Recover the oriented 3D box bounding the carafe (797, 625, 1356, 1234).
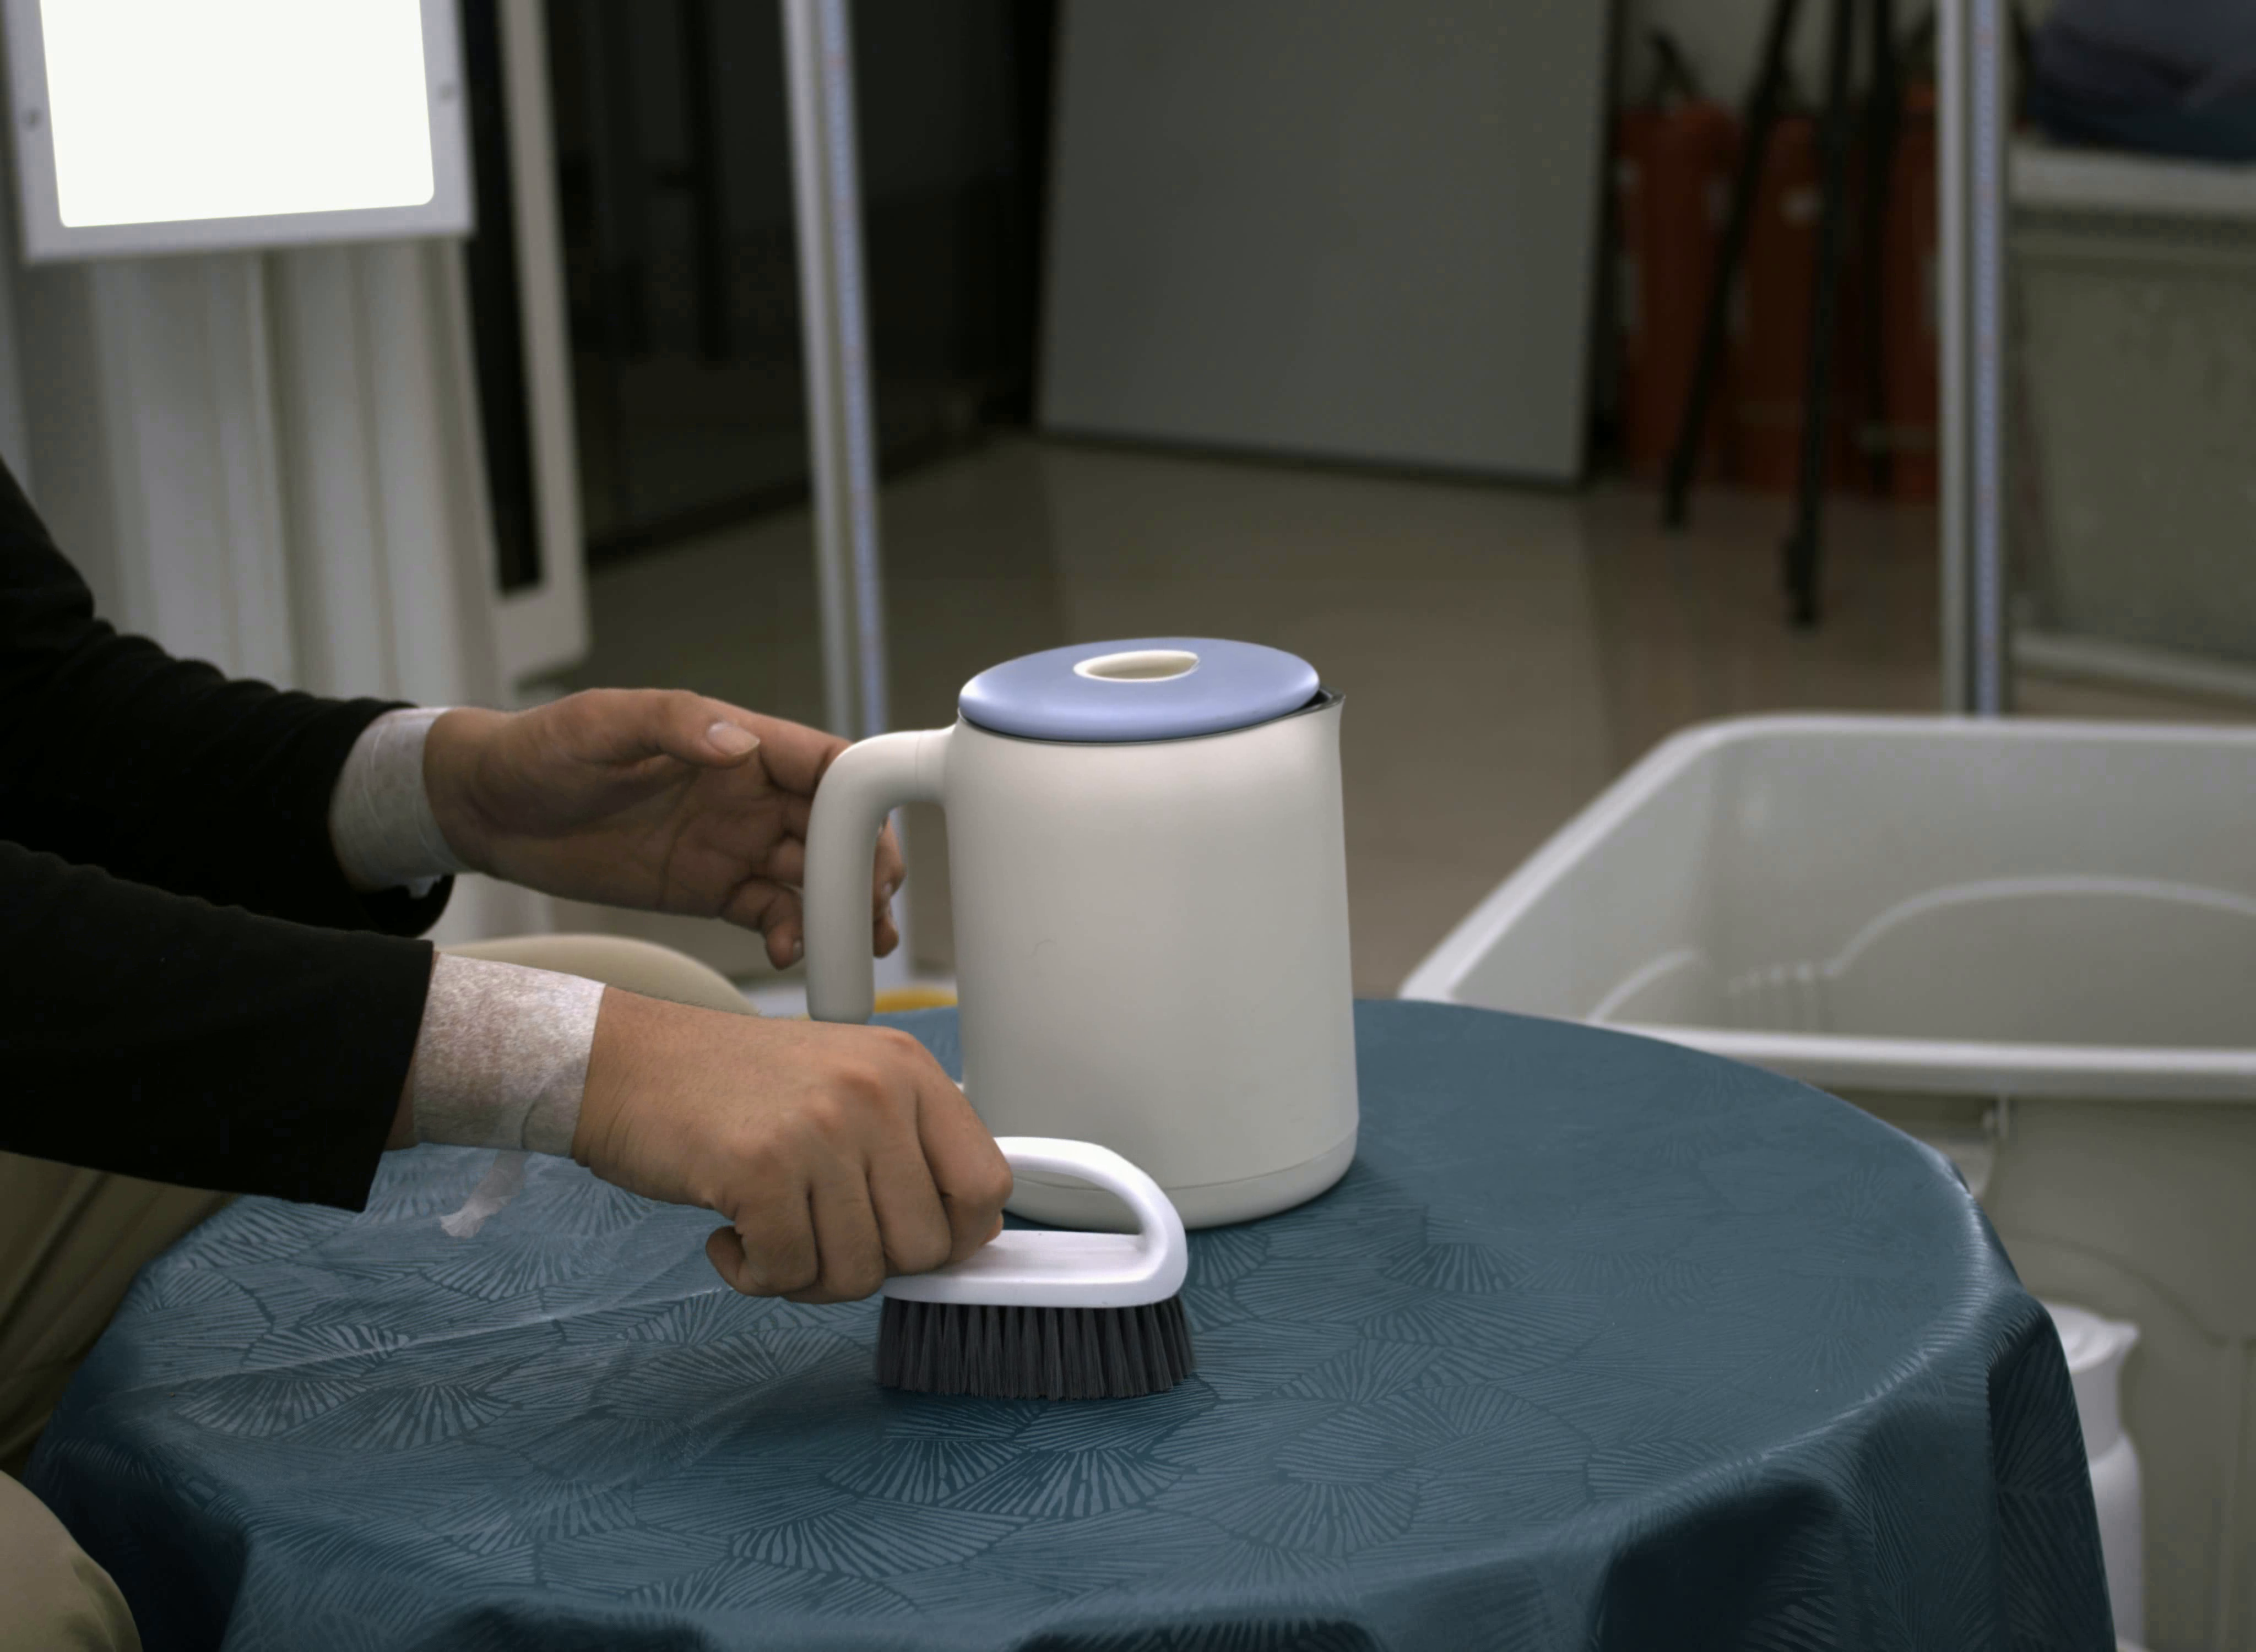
[{"bbox_3d":[-0.017,0.034,1.768,0.190,0.184,0.131,-2,13,13],"label":"carafe"}]

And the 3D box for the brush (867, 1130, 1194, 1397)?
[{"bbox_3d":[-0.030,0.126,1.600,0.099,0.073,0.050,0,15,19],"label":"brush"}]
